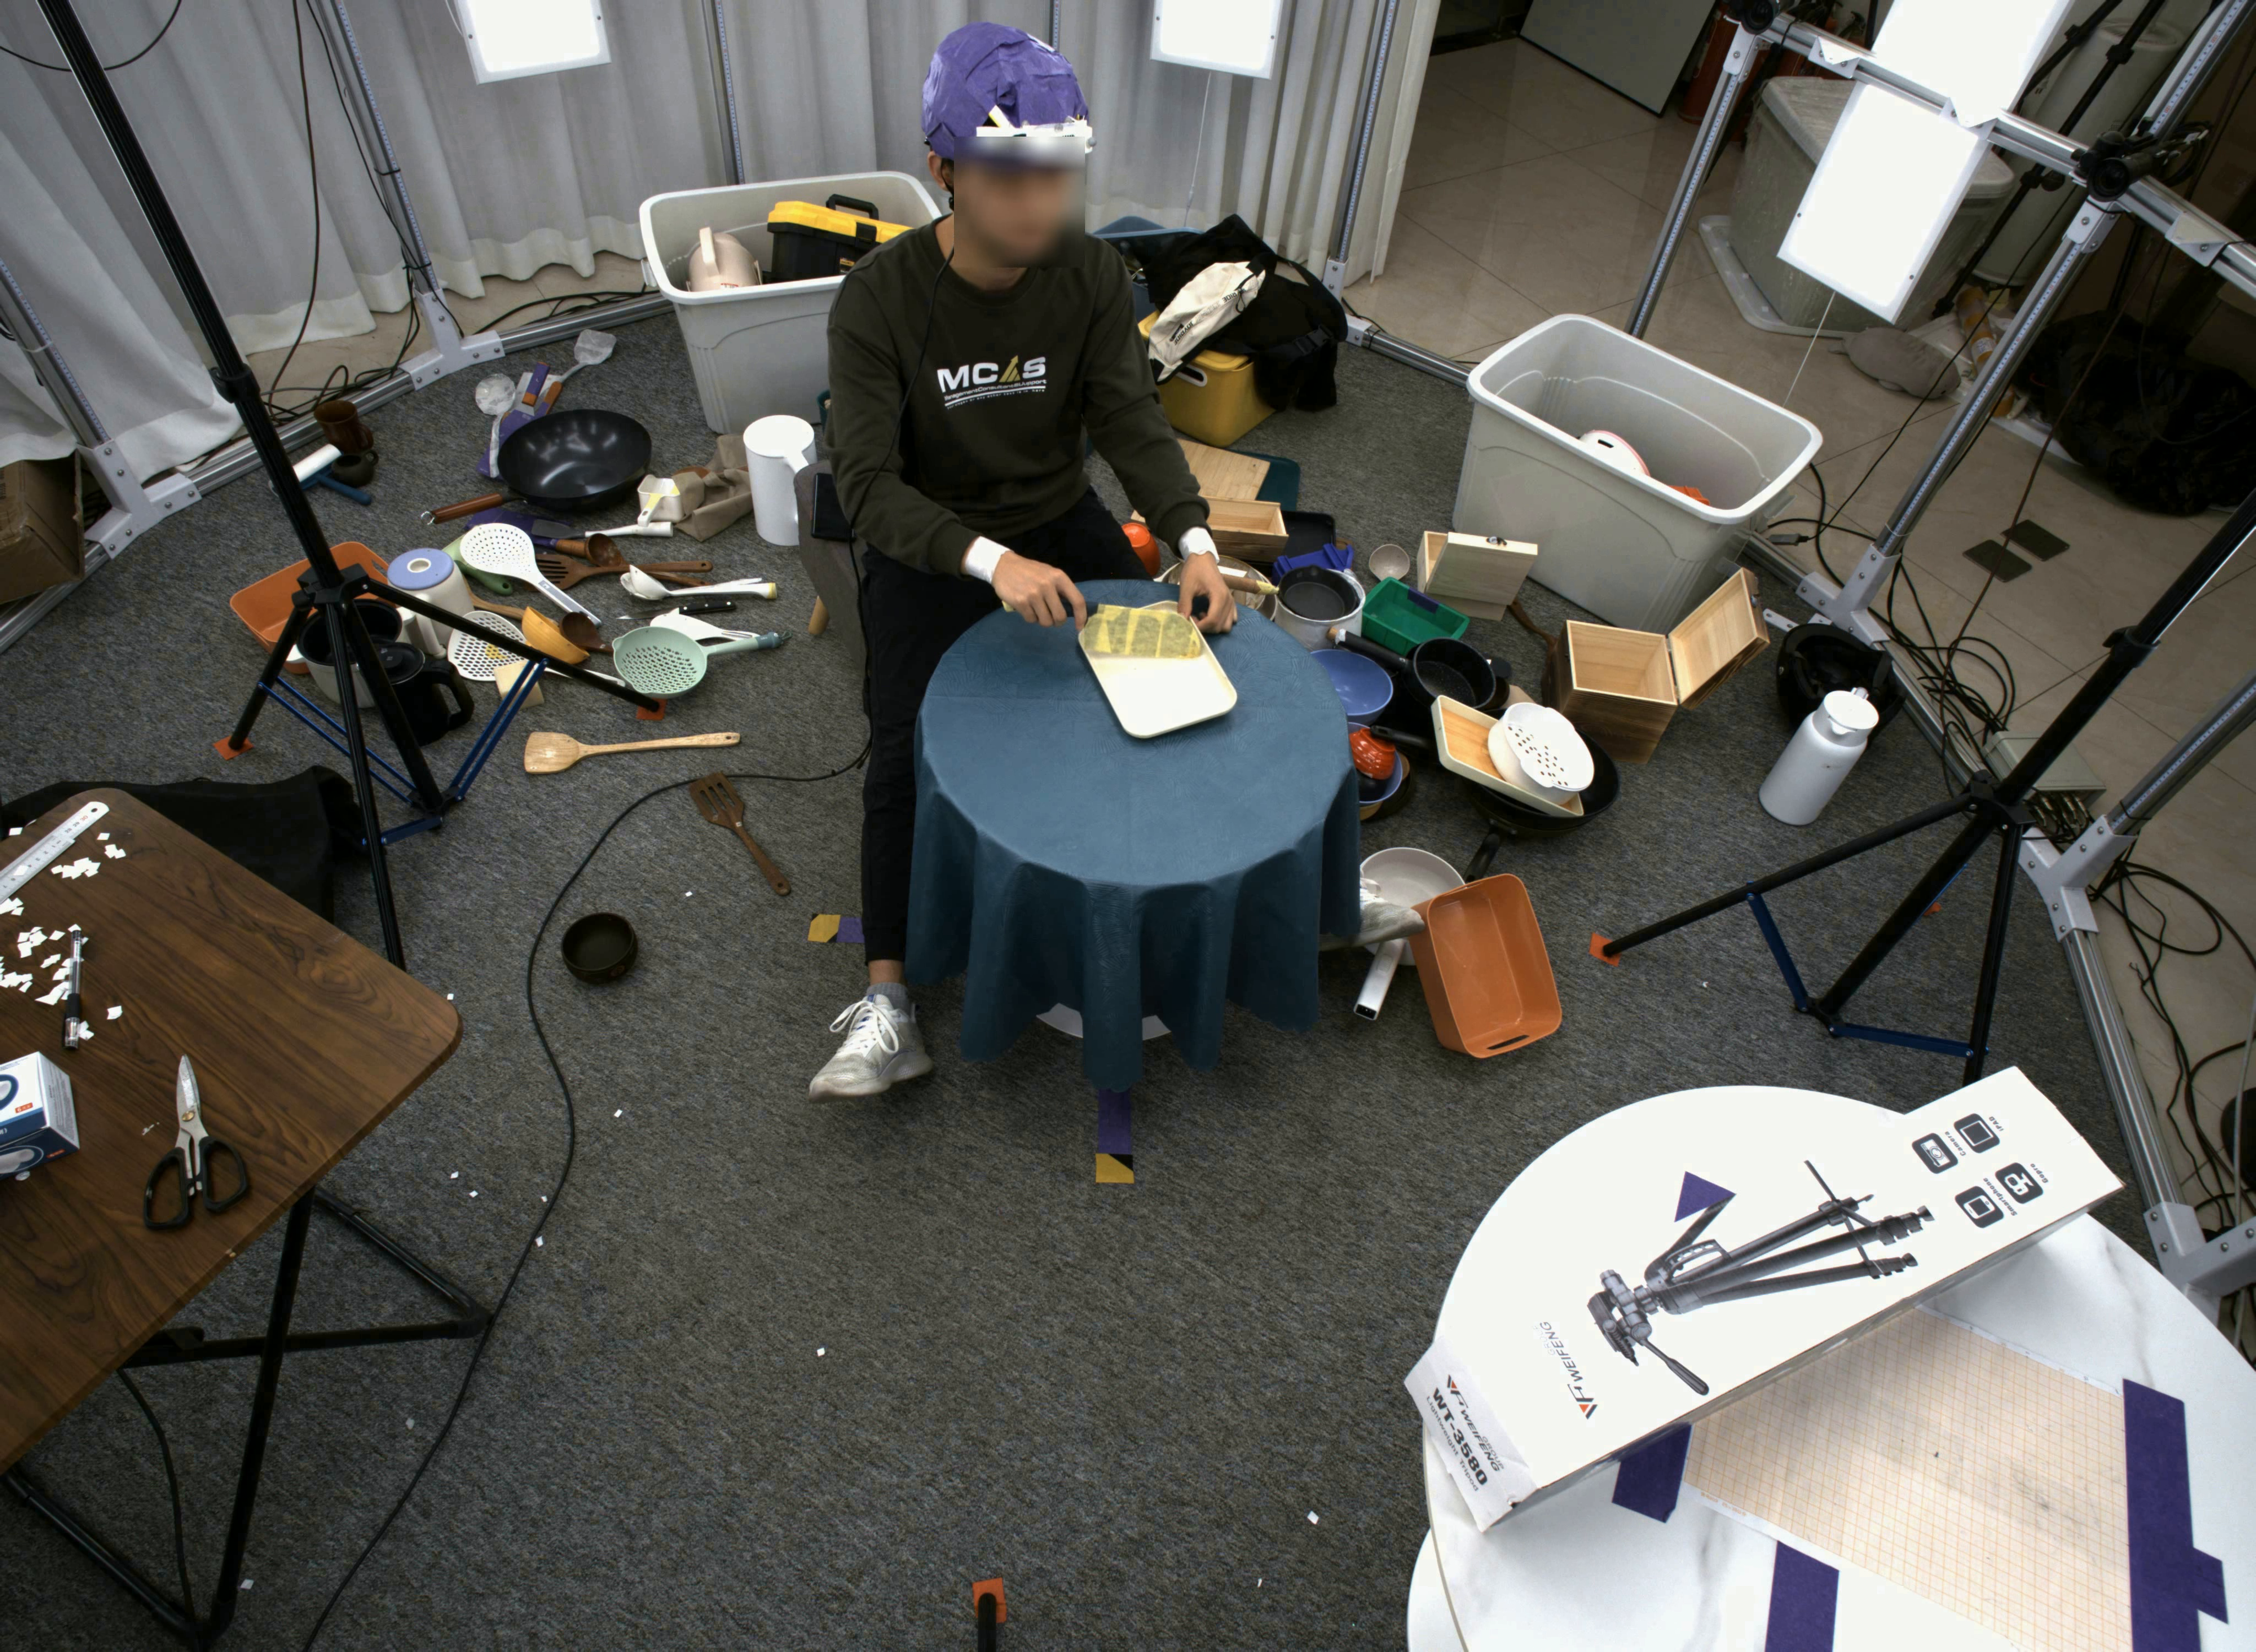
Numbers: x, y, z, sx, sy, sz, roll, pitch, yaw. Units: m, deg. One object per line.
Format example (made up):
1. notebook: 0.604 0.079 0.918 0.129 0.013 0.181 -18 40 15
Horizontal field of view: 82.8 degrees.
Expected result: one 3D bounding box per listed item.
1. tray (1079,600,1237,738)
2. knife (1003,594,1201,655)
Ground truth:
1. tray: 0.041 -0.227 1.845 0.171 0.017 0.245 -18 53 -10
2. knife: -0.036 -0.289 1.841 0.289 0.079 0.028 9 28 -5
